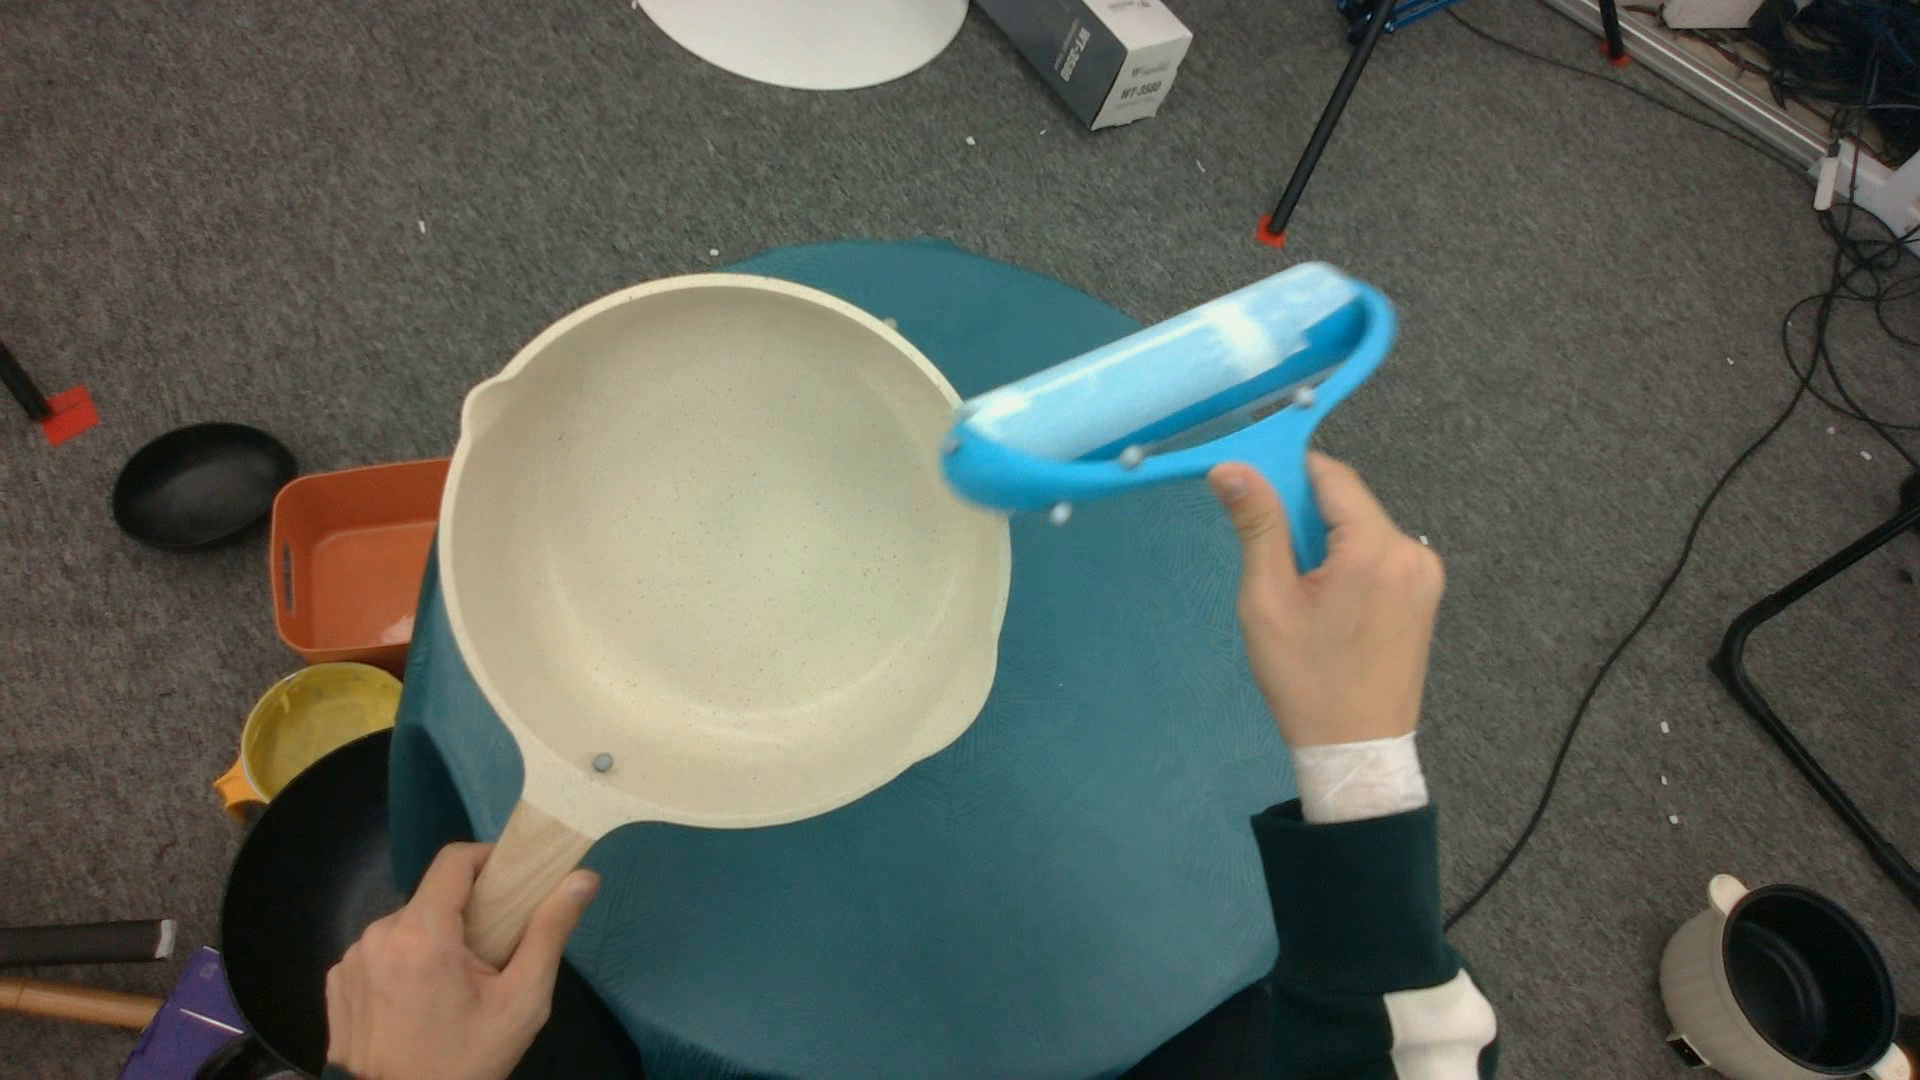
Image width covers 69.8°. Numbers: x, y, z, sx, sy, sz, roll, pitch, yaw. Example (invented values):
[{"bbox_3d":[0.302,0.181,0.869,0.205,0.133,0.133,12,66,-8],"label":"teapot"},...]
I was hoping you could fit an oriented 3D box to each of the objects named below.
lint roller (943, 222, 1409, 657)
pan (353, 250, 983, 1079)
[{"bbox_3d":[0.126,-0.039,0.592,0.229,0.067,0.180,-25,72,-21],"label":"lint roller"},{"bbox_3d":[-0.163,0.072,0.649,0.263,0.102,0.434,31,96,-7],"label":"pan"}]
